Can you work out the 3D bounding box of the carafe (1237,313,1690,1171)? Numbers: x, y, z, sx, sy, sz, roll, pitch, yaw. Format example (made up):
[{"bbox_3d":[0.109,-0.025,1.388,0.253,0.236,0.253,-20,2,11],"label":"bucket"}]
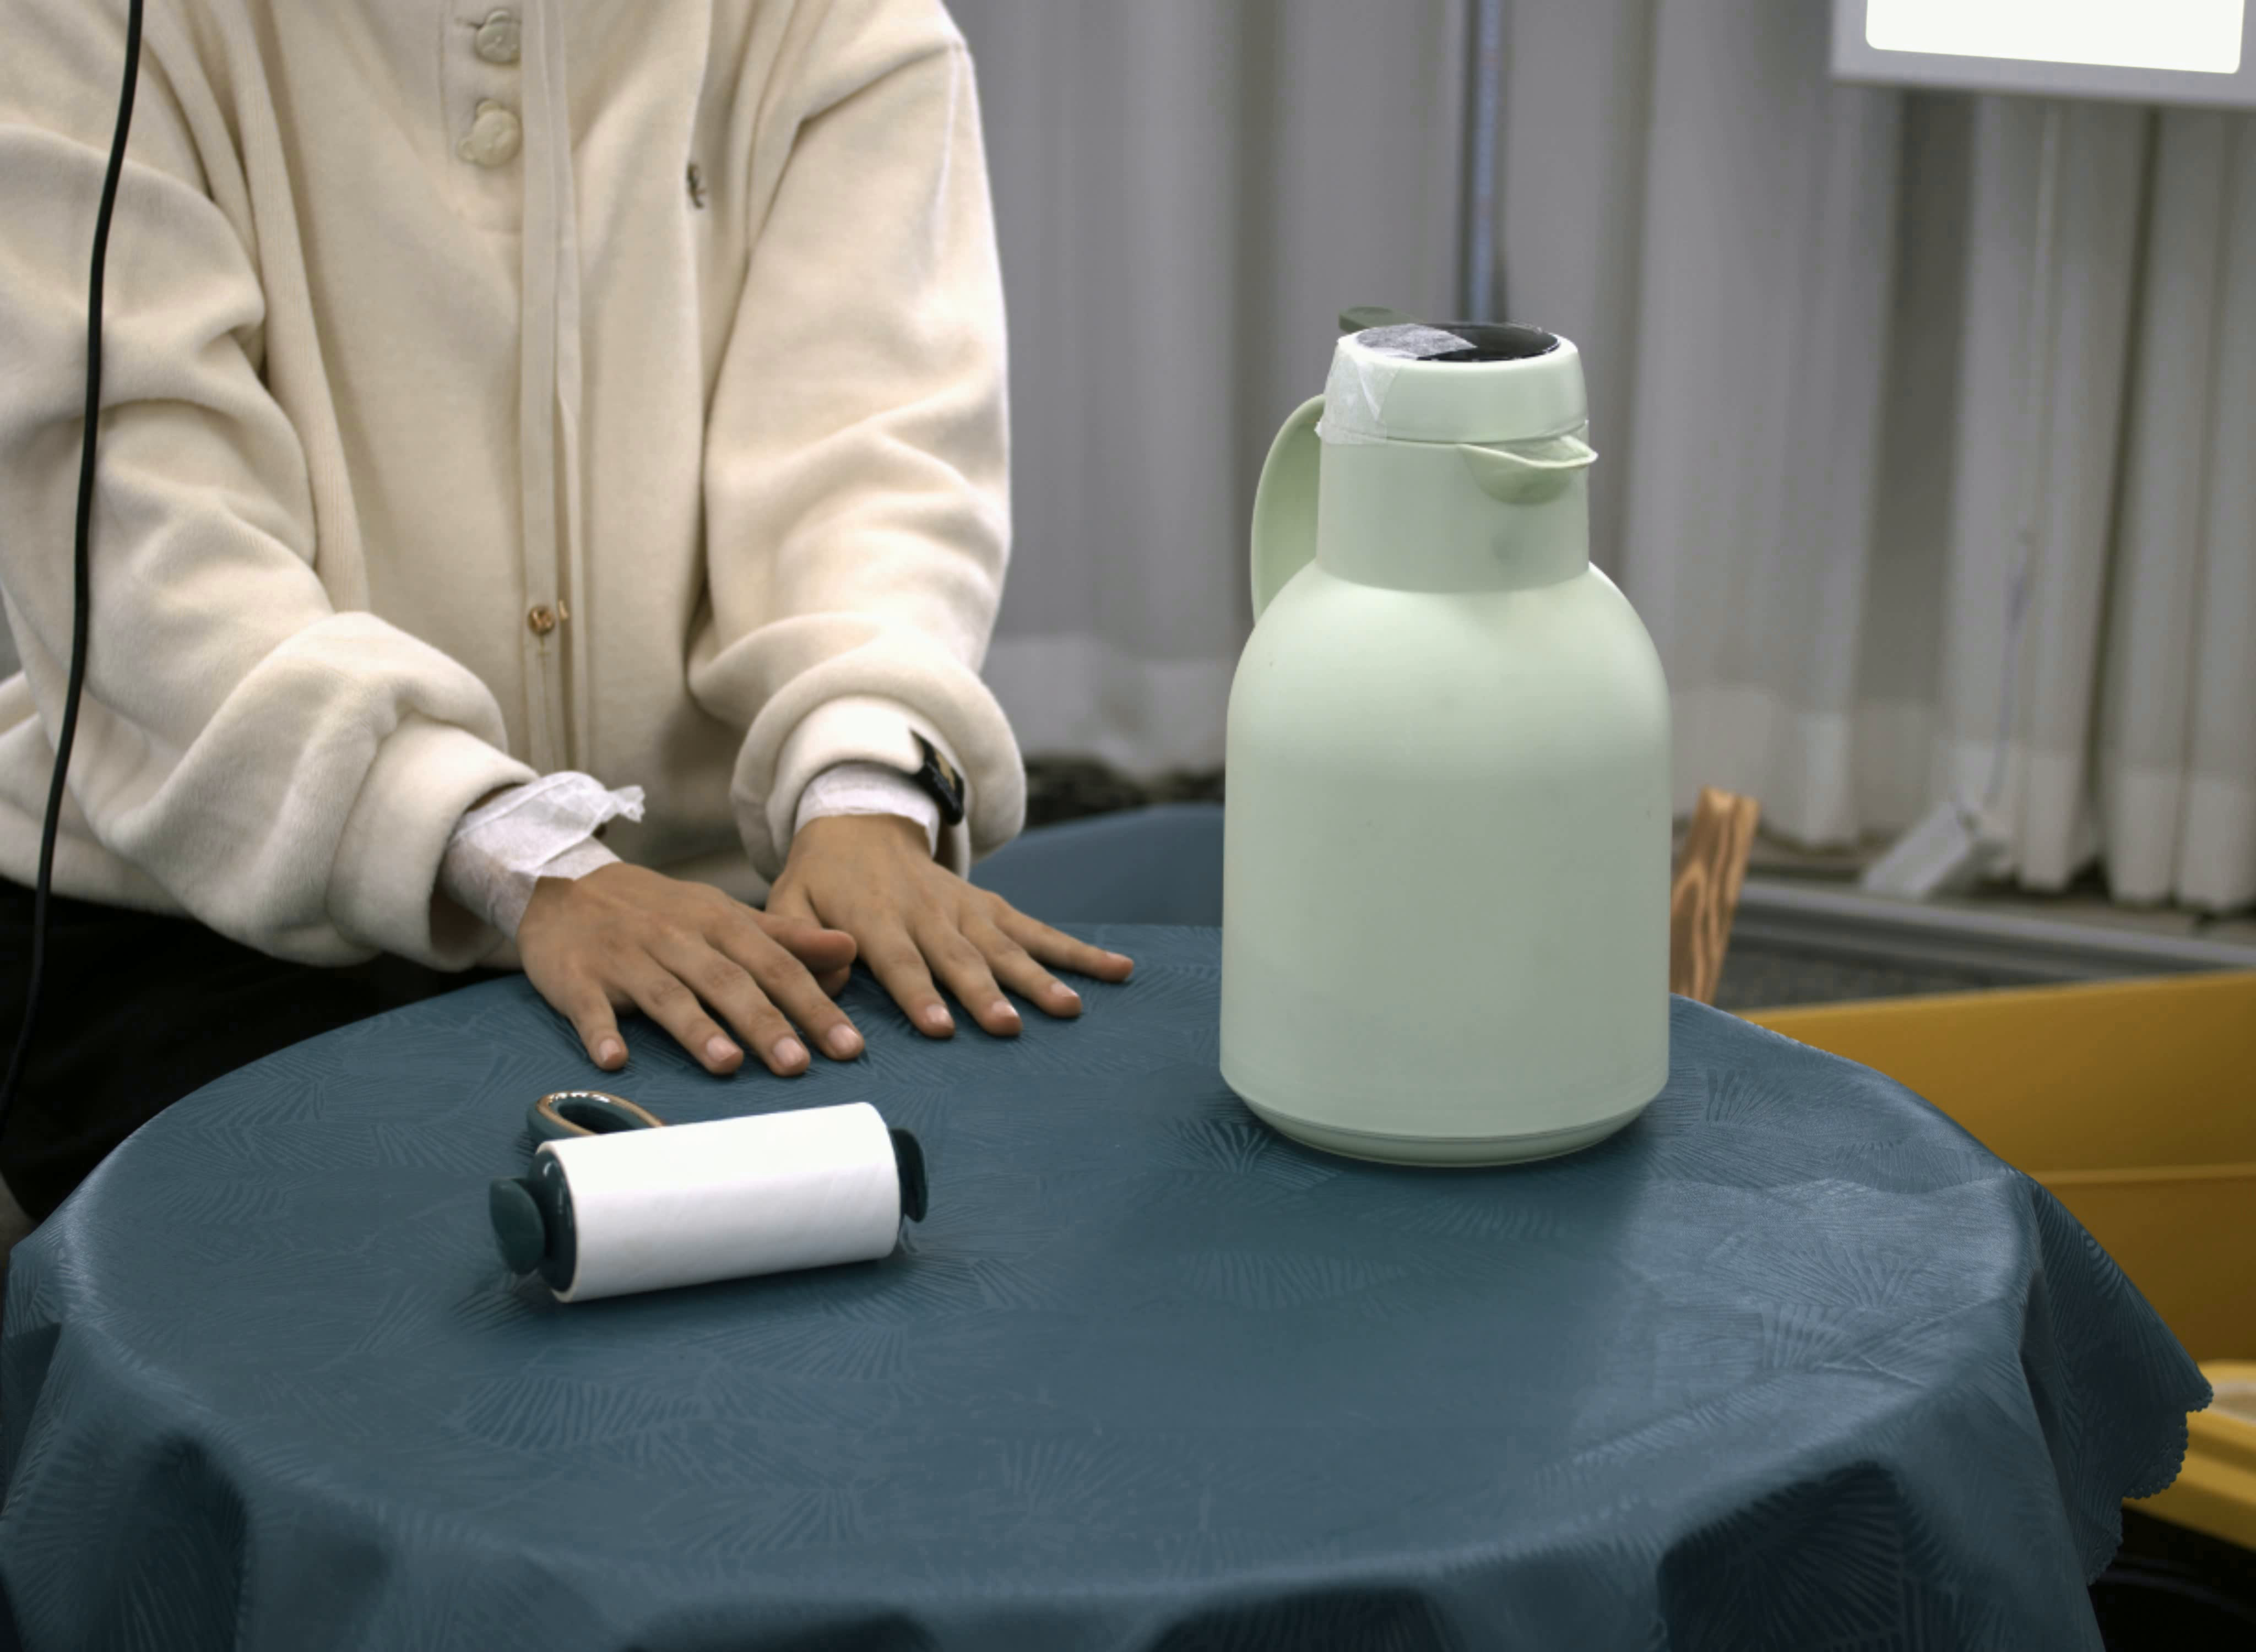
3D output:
[{"bbox_3d":[0.098,-0.032,1.678,0.145,0.259,0.184,-10,15,-25],"label":"carafe"}]

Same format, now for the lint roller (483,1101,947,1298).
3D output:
[{"bbox_3d":[-0.147,0.093,1.597,0.135,0.049,0.178,-5,16,-22],"label":"lint roller"}]
